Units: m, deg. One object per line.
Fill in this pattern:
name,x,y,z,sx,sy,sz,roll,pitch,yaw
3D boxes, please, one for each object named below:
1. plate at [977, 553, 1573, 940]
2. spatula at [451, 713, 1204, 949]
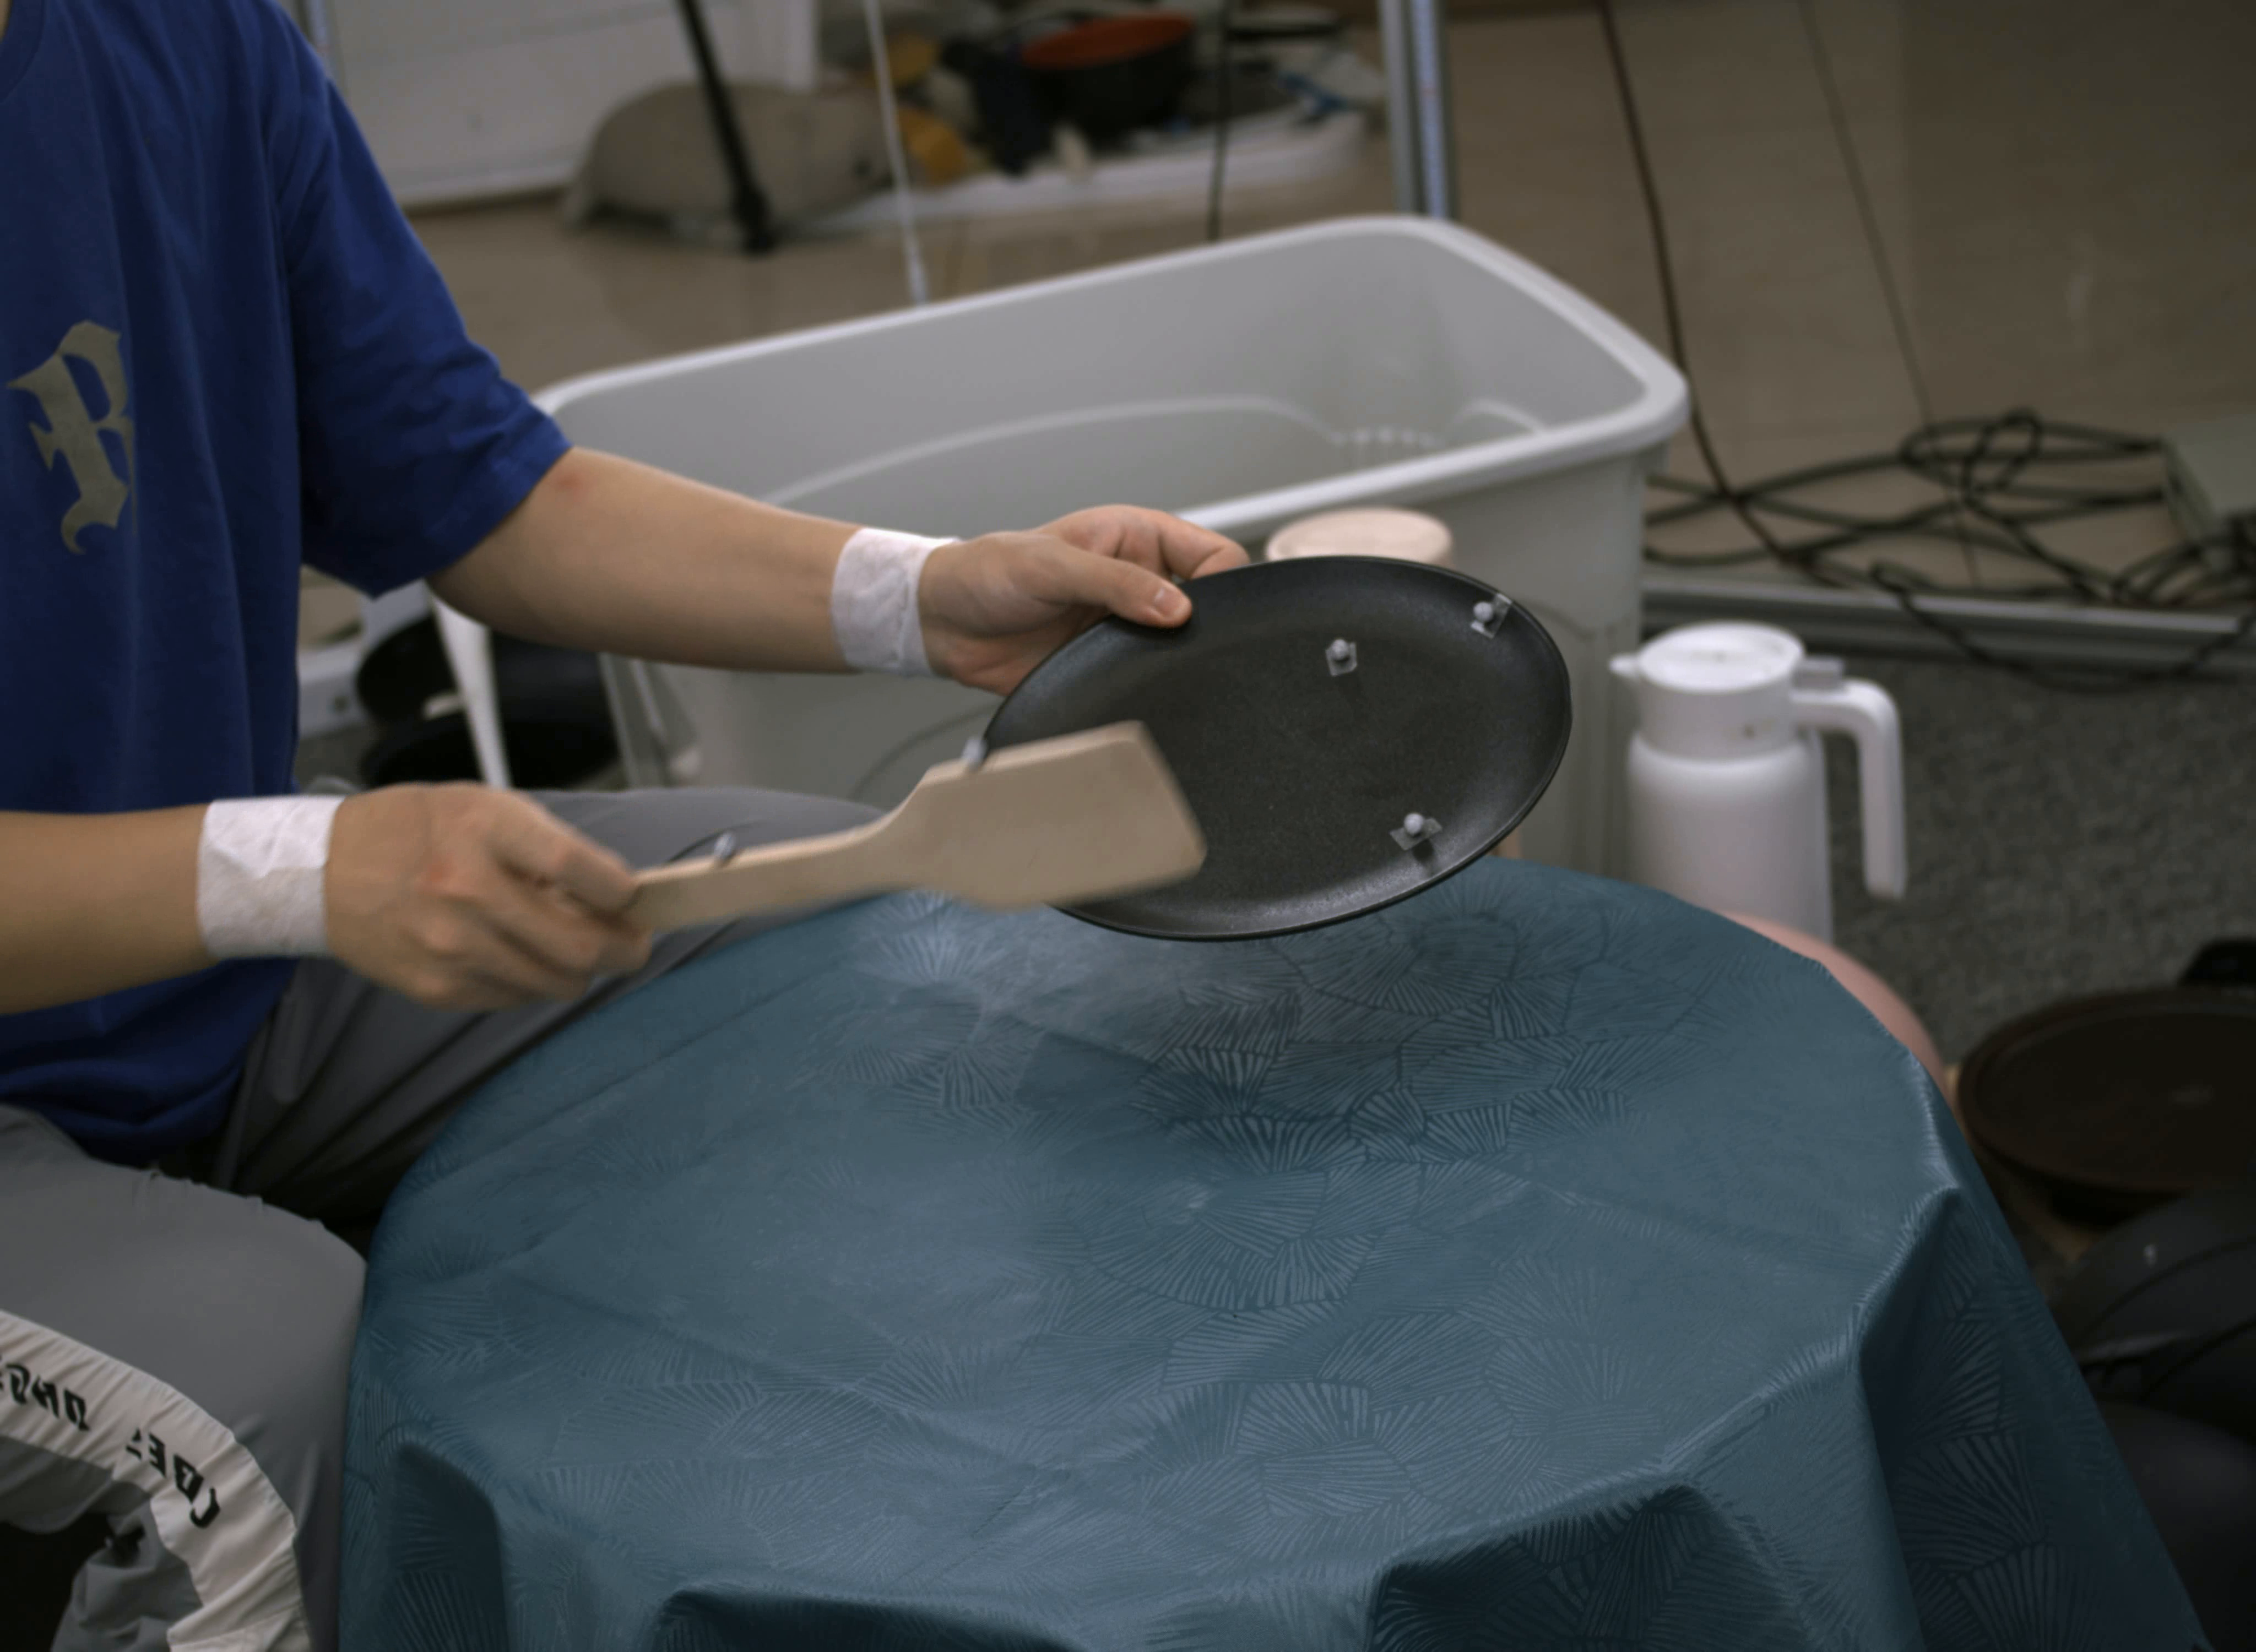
plate,0.057,-0.027,2.246,0.244,0.024,0.240,-9,38,7
spatula,-0.117,0.010,2.065,0.293,0.073,0.010,-11,42,21
